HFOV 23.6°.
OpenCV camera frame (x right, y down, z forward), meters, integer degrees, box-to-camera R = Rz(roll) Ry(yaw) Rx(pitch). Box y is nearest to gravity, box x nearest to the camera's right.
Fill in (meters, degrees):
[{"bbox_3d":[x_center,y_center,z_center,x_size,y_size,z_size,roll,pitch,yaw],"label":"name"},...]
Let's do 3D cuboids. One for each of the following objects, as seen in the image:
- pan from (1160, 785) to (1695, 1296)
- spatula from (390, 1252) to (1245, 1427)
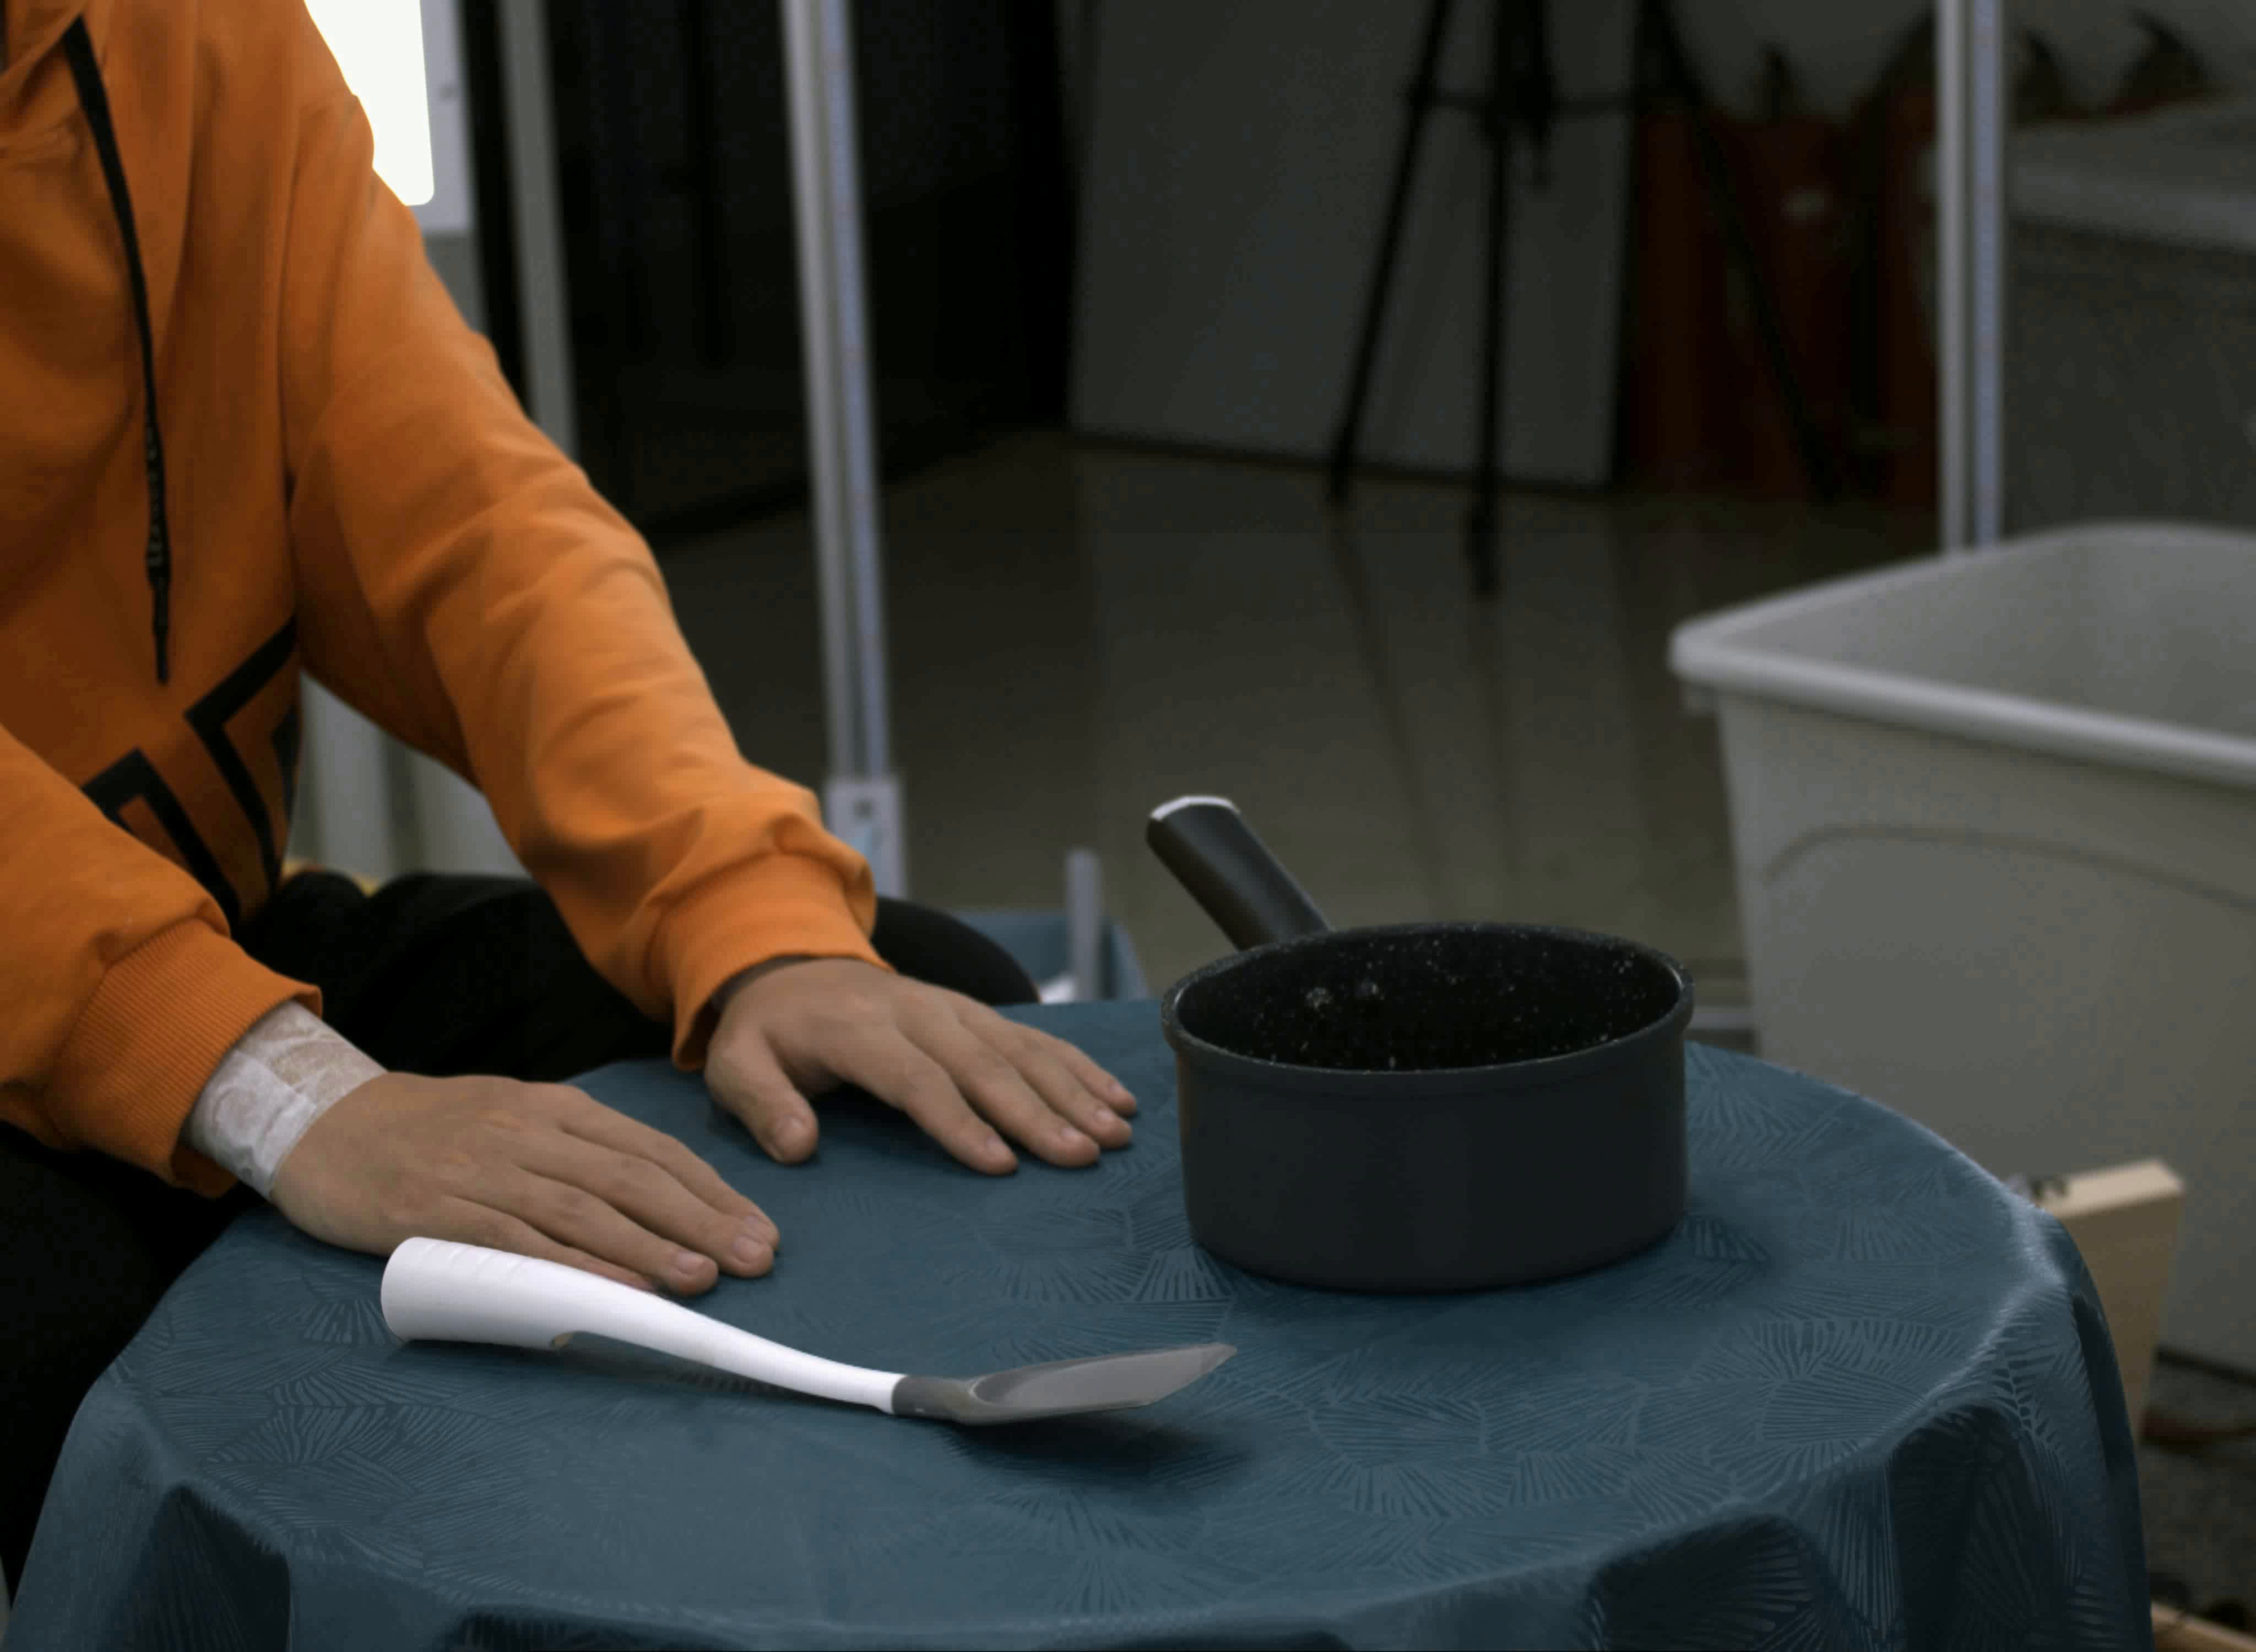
[{"bbox_3d":[0.076,0.067,1.788,0.169,0.087,0.331,-7,16,-13],"label":"pan"},{"bbox_3d":[-0.096,0.155,1.596,0.289,0.032,0.058,3,12,32],"label":"spatula"}]
